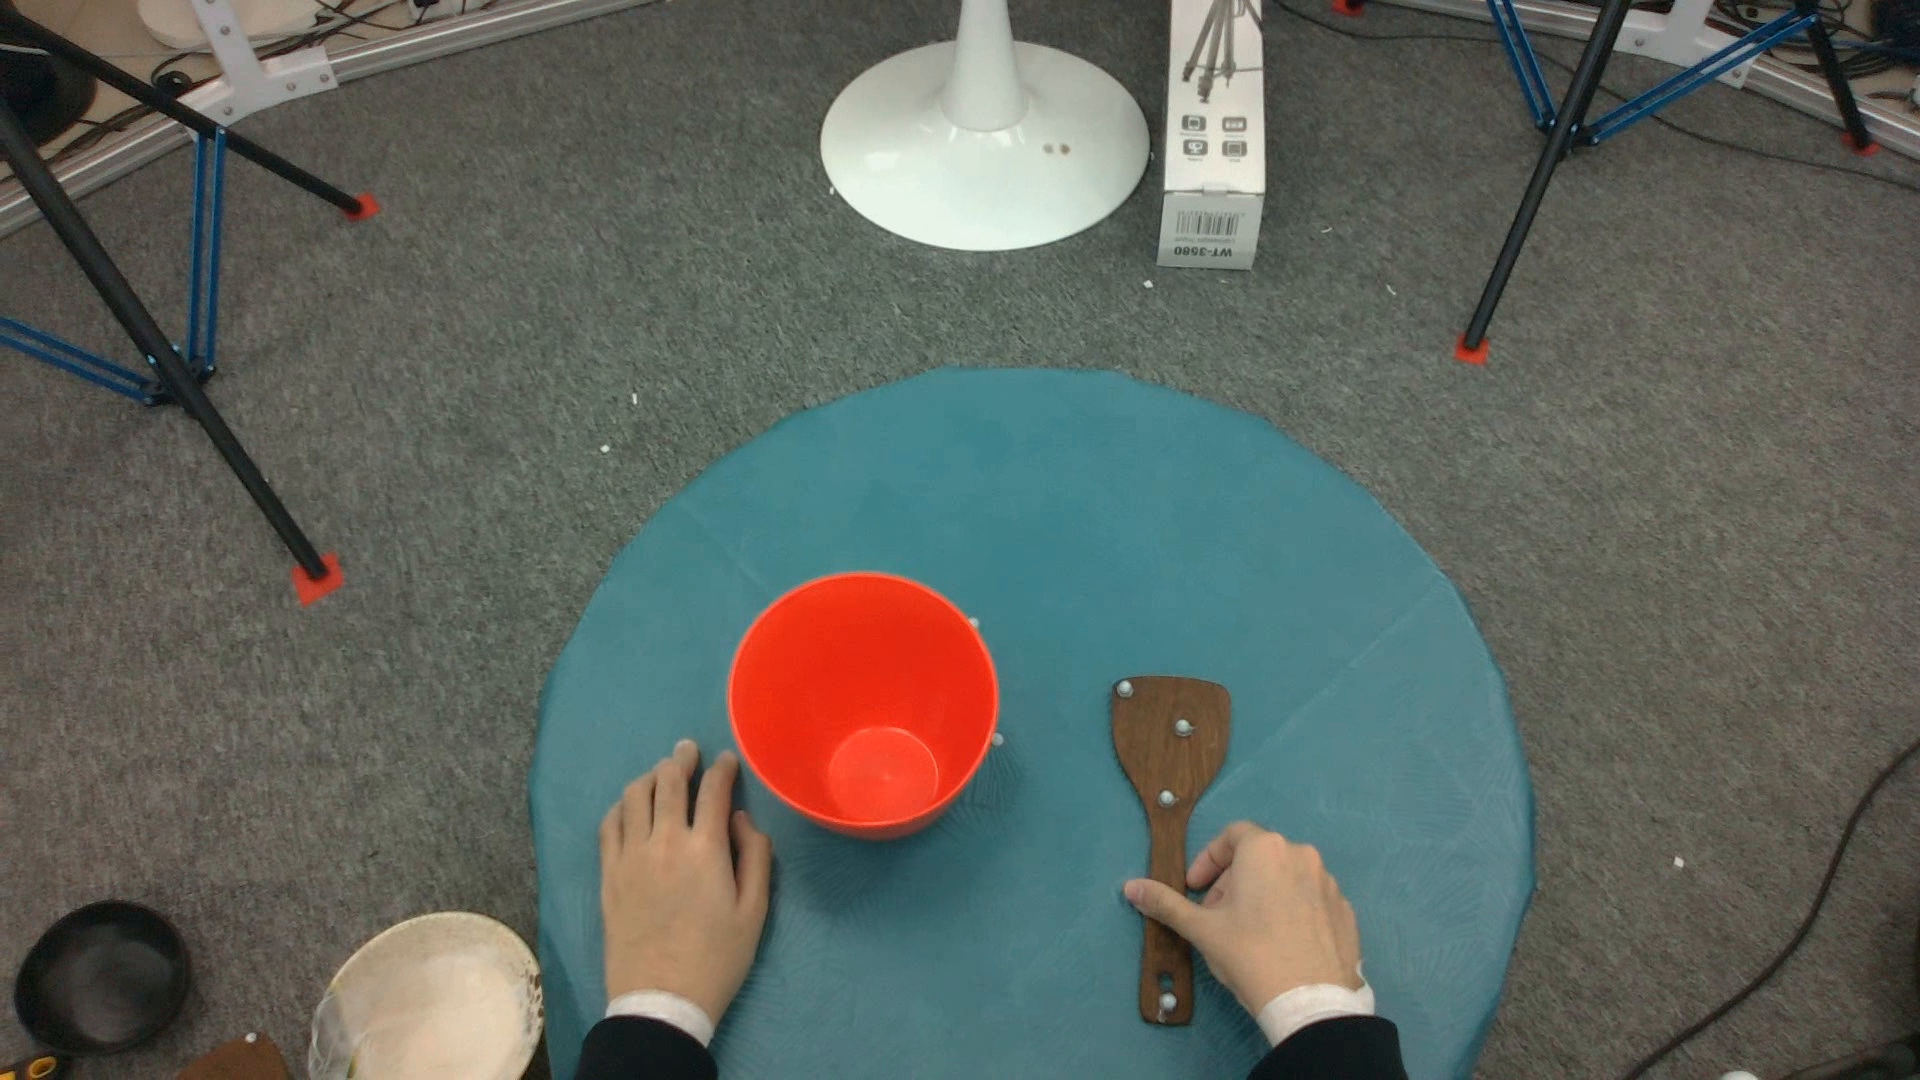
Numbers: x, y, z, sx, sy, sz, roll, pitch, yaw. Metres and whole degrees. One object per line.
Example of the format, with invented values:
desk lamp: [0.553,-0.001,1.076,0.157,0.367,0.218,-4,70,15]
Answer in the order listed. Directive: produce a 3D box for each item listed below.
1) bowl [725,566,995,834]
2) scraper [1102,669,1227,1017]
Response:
bowl: [-0.055,0.103,0.785,0.148,0.104,0.148,1,54,-2]
scraper: [0.117,0.168,0.795,0.076,0.011,0.212,4,54,5]
